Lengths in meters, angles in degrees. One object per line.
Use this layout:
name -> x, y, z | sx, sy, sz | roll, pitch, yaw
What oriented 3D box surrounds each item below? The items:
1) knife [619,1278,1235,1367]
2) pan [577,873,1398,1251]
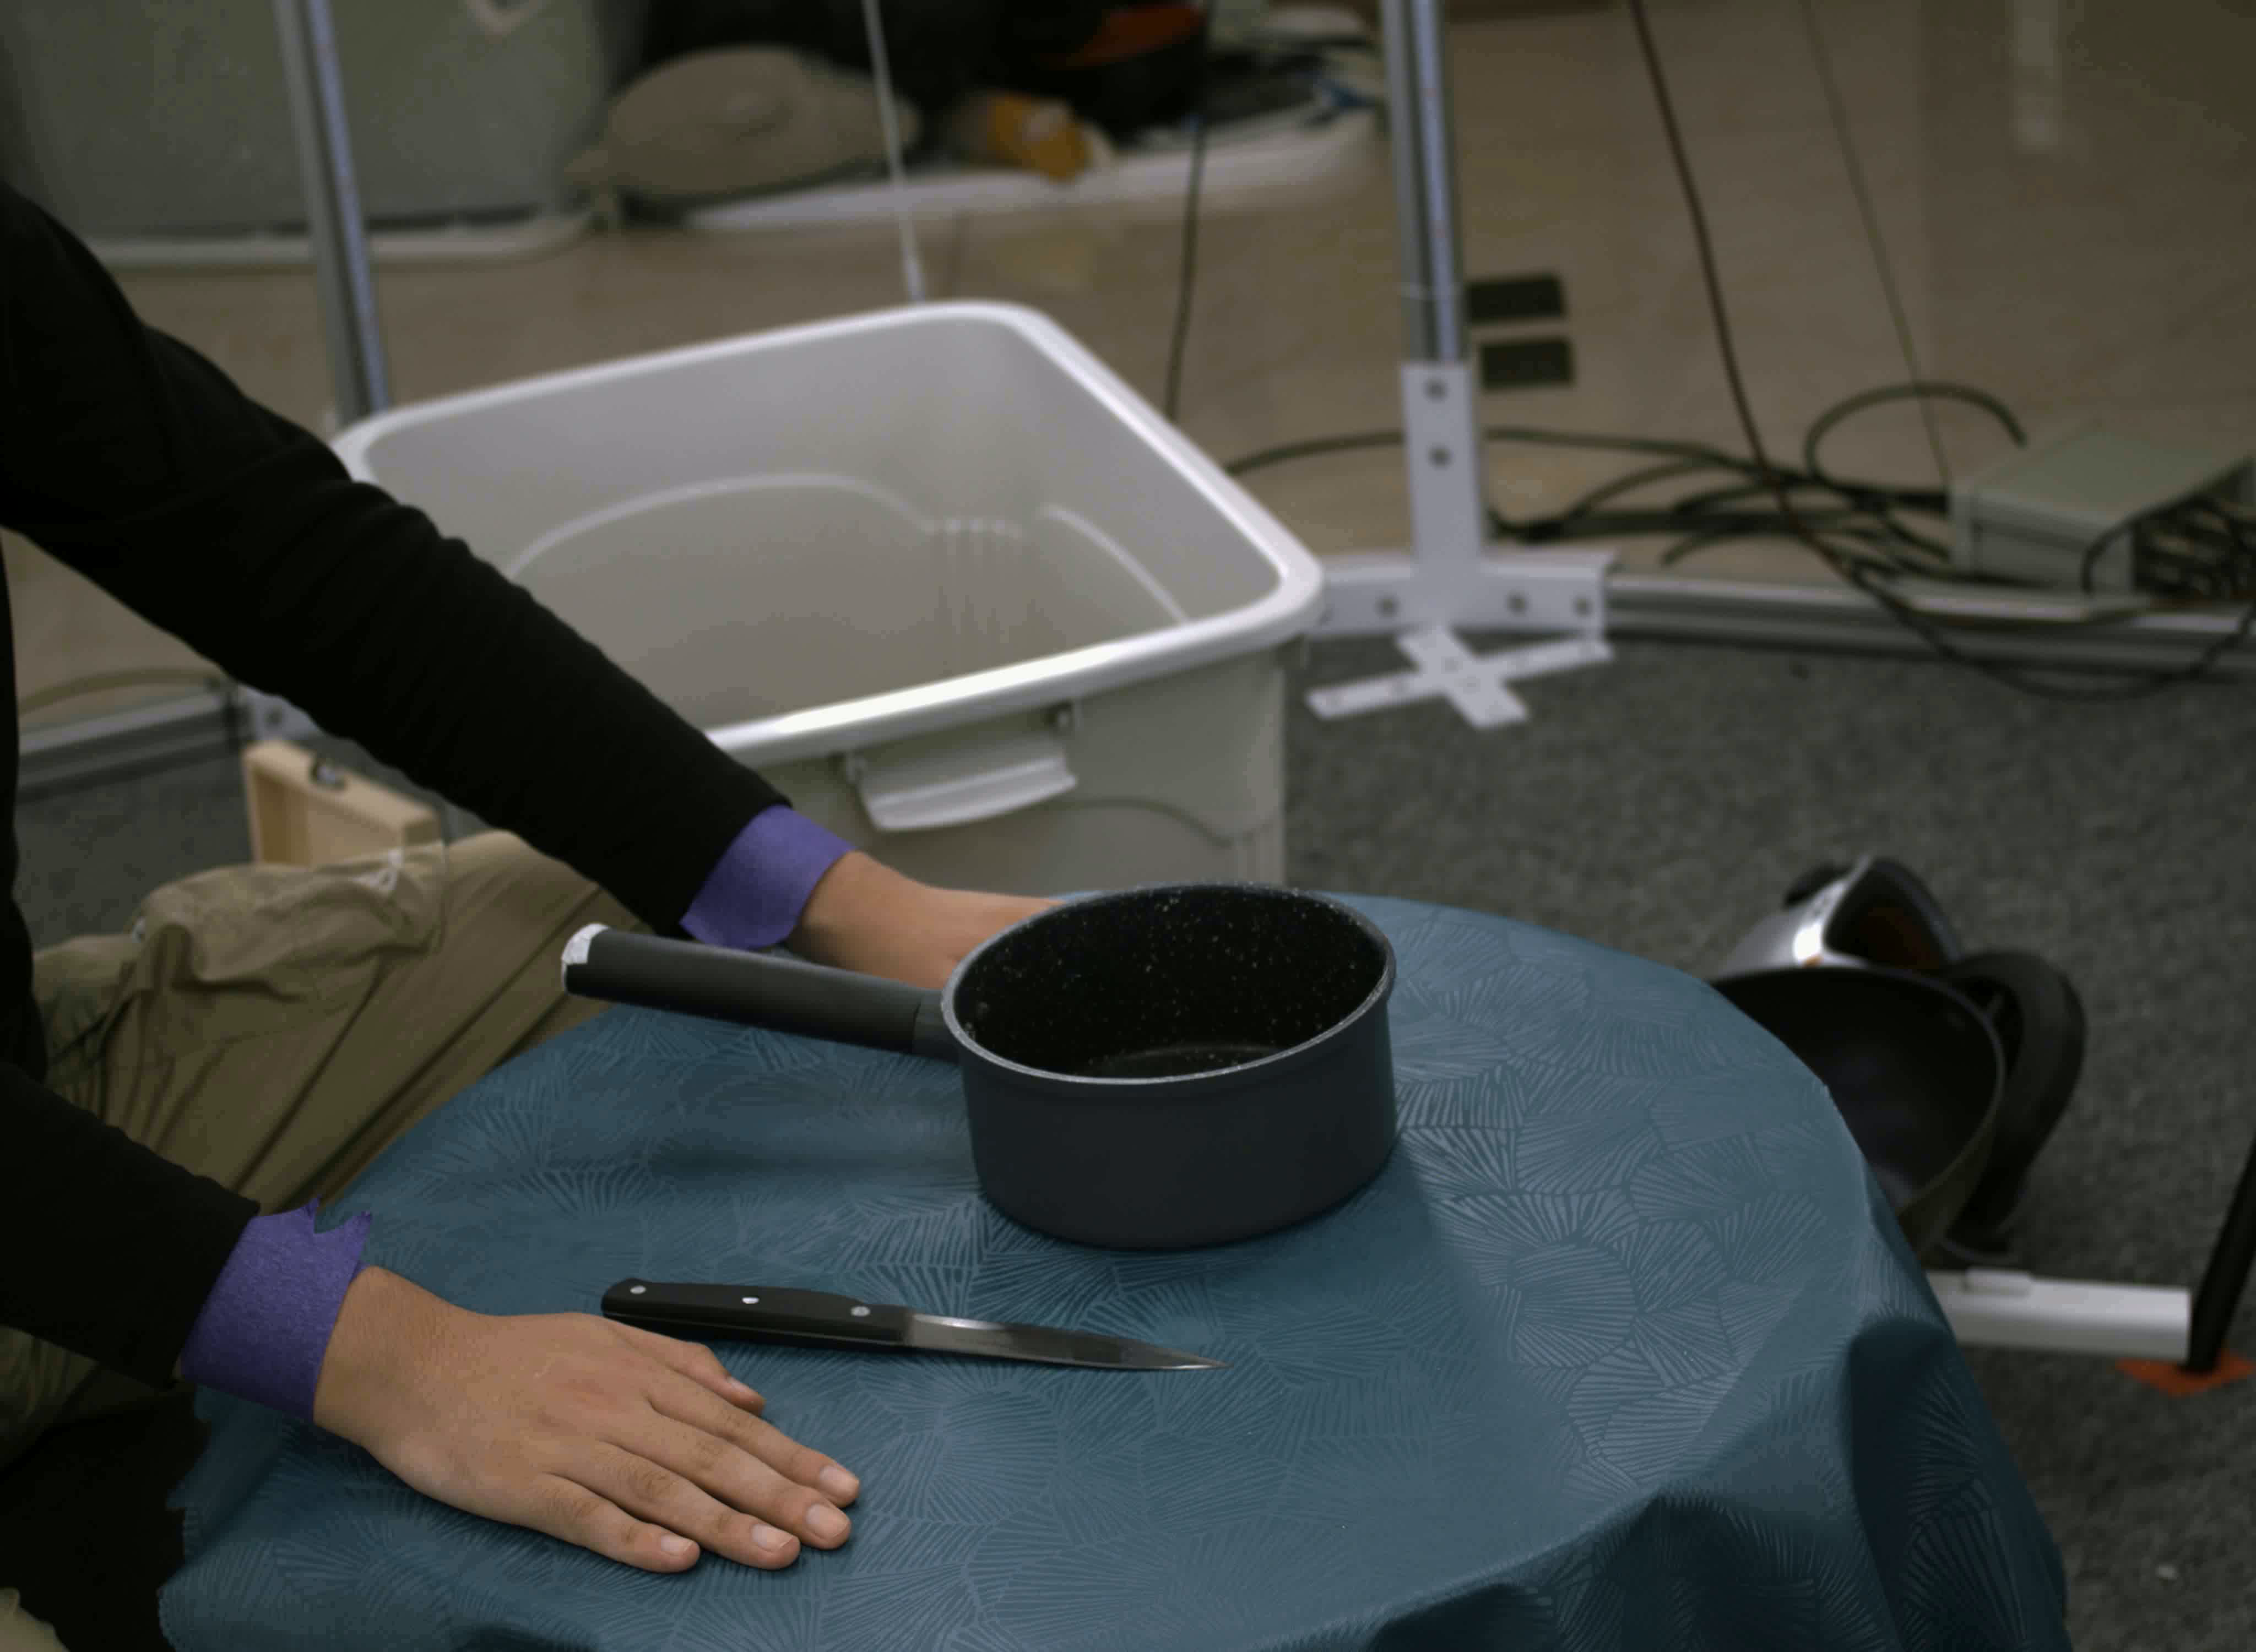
knife -> -0.076, 0.184, 2.060 | 0.237, 0.016, 0.024 | 5, 26, 16
pan -> -0.056, 0.085, 2.180 | 0.328, 0.088, 0.169 | 4, 27, 19
